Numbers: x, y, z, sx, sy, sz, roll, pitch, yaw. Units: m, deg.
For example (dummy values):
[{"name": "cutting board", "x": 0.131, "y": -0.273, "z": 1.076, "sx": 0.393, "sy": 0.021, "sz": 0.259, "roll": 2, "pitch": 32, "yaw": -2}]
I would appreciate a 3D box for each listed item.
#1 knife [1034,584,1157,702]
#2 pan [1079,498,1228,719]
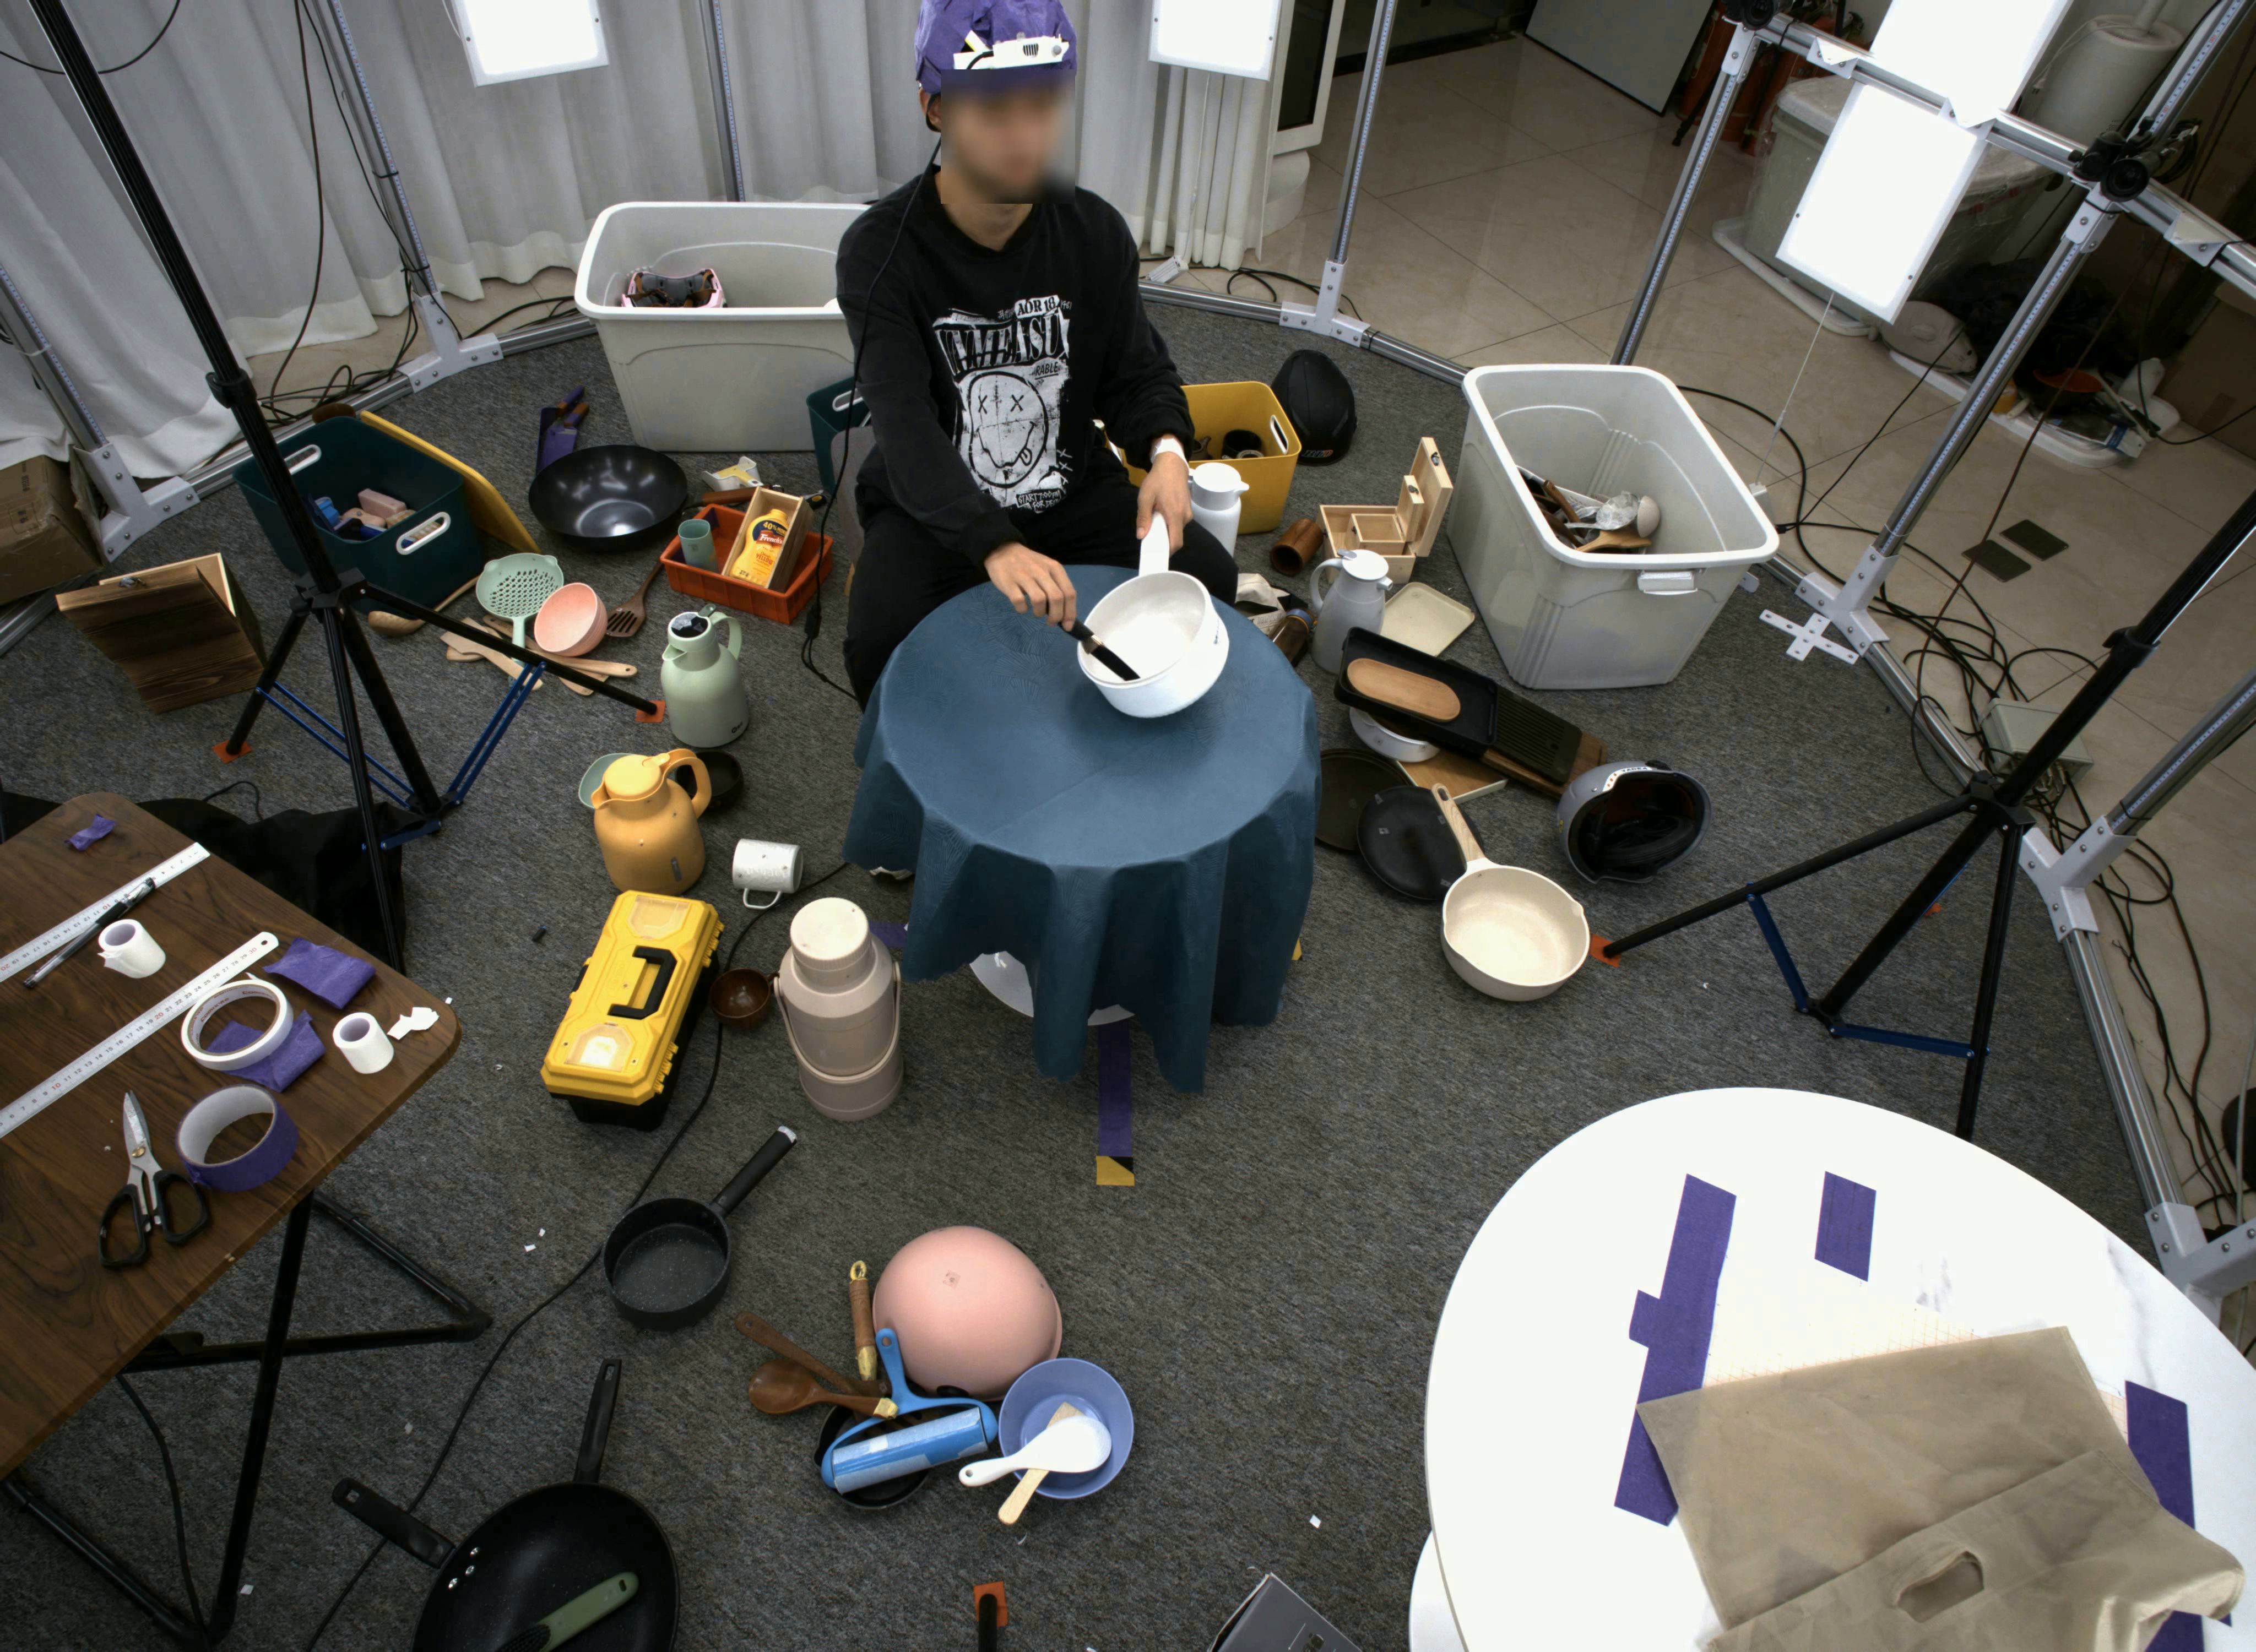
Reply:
[{"name": "knife", "x": -0.039, "y": -0.237, "z": 1.670, "sx": 0.222, "sy": 0.017, "sz": 0.027, "roll": 40, "pitch": 47, "yaw": -23}, {"name": "pan", "x": 0.047, "y": -0.310, "z": 1.831, "sx": 0.201, "sy": 0.100, "sz": 0.363, "roll": -13, "pitch": 51, "yaw": 25}]
